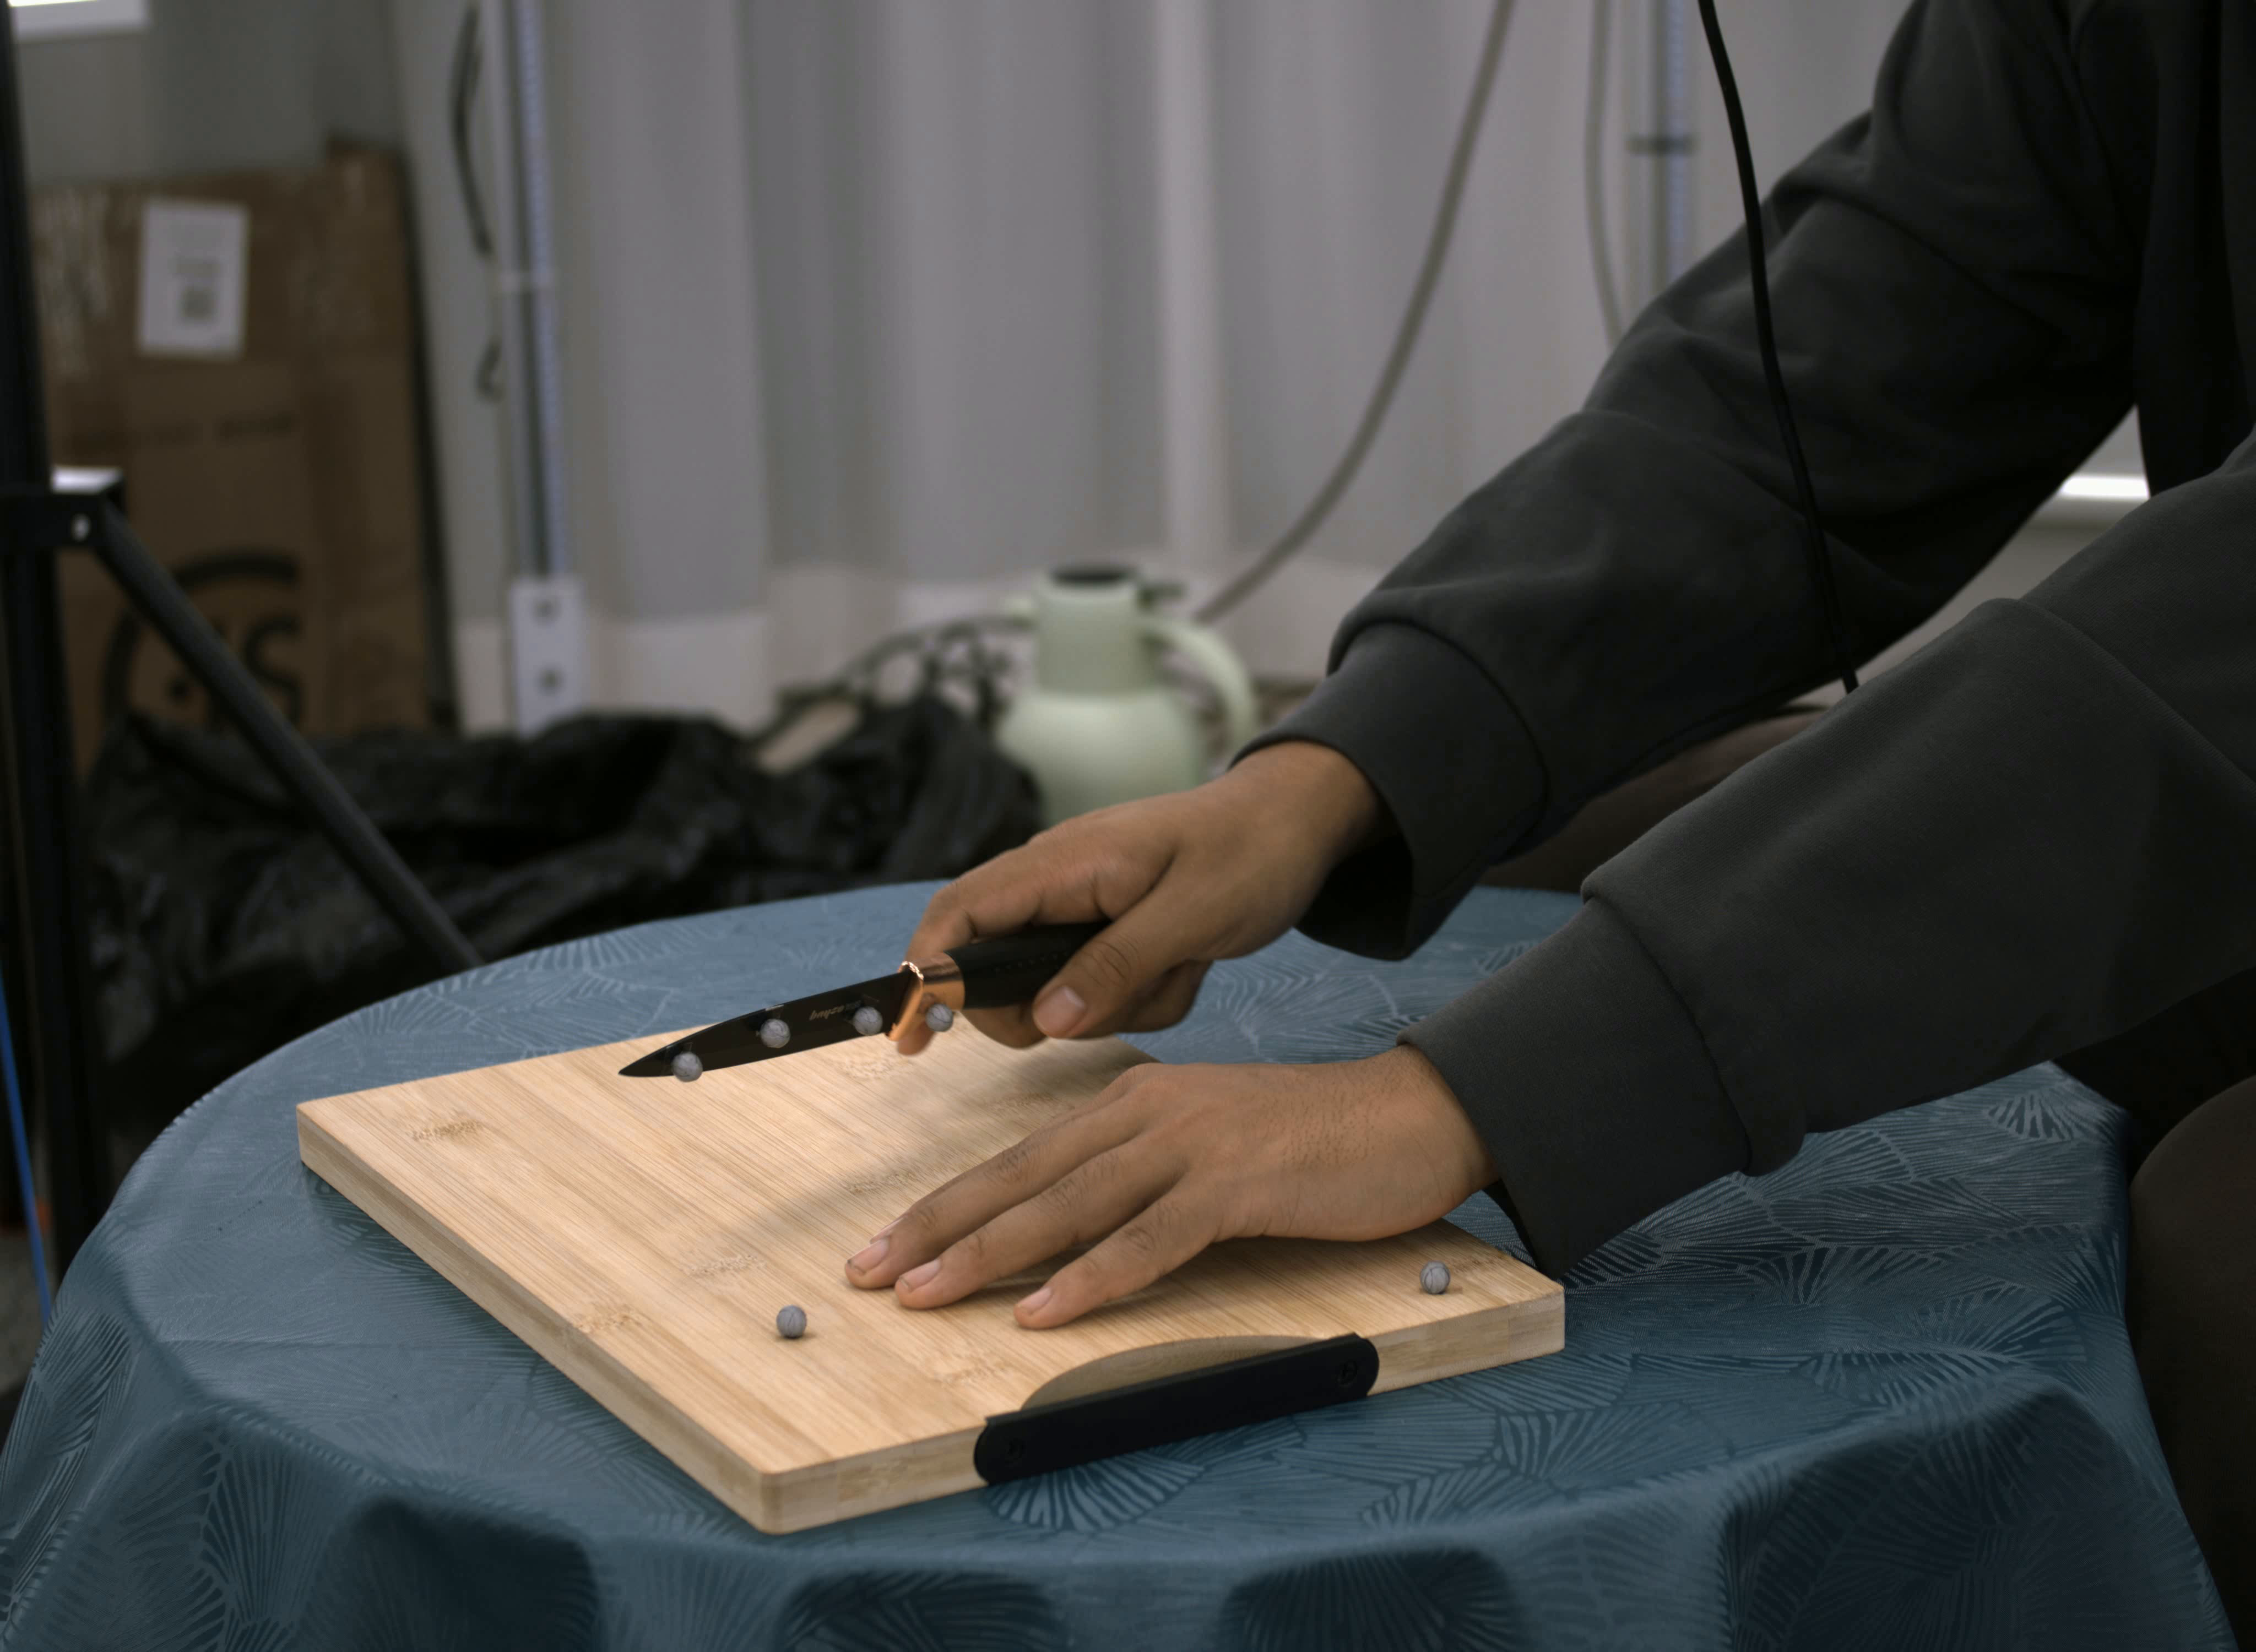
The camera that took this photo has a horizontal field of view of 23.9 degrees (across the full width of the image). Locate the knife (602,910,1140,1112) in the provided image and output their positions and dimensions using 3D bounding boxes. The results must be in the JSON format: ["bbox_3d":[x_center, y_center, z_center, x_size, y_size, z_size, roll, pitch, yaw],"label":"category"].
[{"bbox_3d":[-0.071,0.053,1.553,0.017,0.026,0.220,40,33,27],"label":"knife"}]

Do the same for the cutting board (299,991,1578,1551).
[{"bbox_3d":[-0.064,0.115,1.513,0.245,0.023,0.356,-11,18,-26],"label":"cutting board"}]
